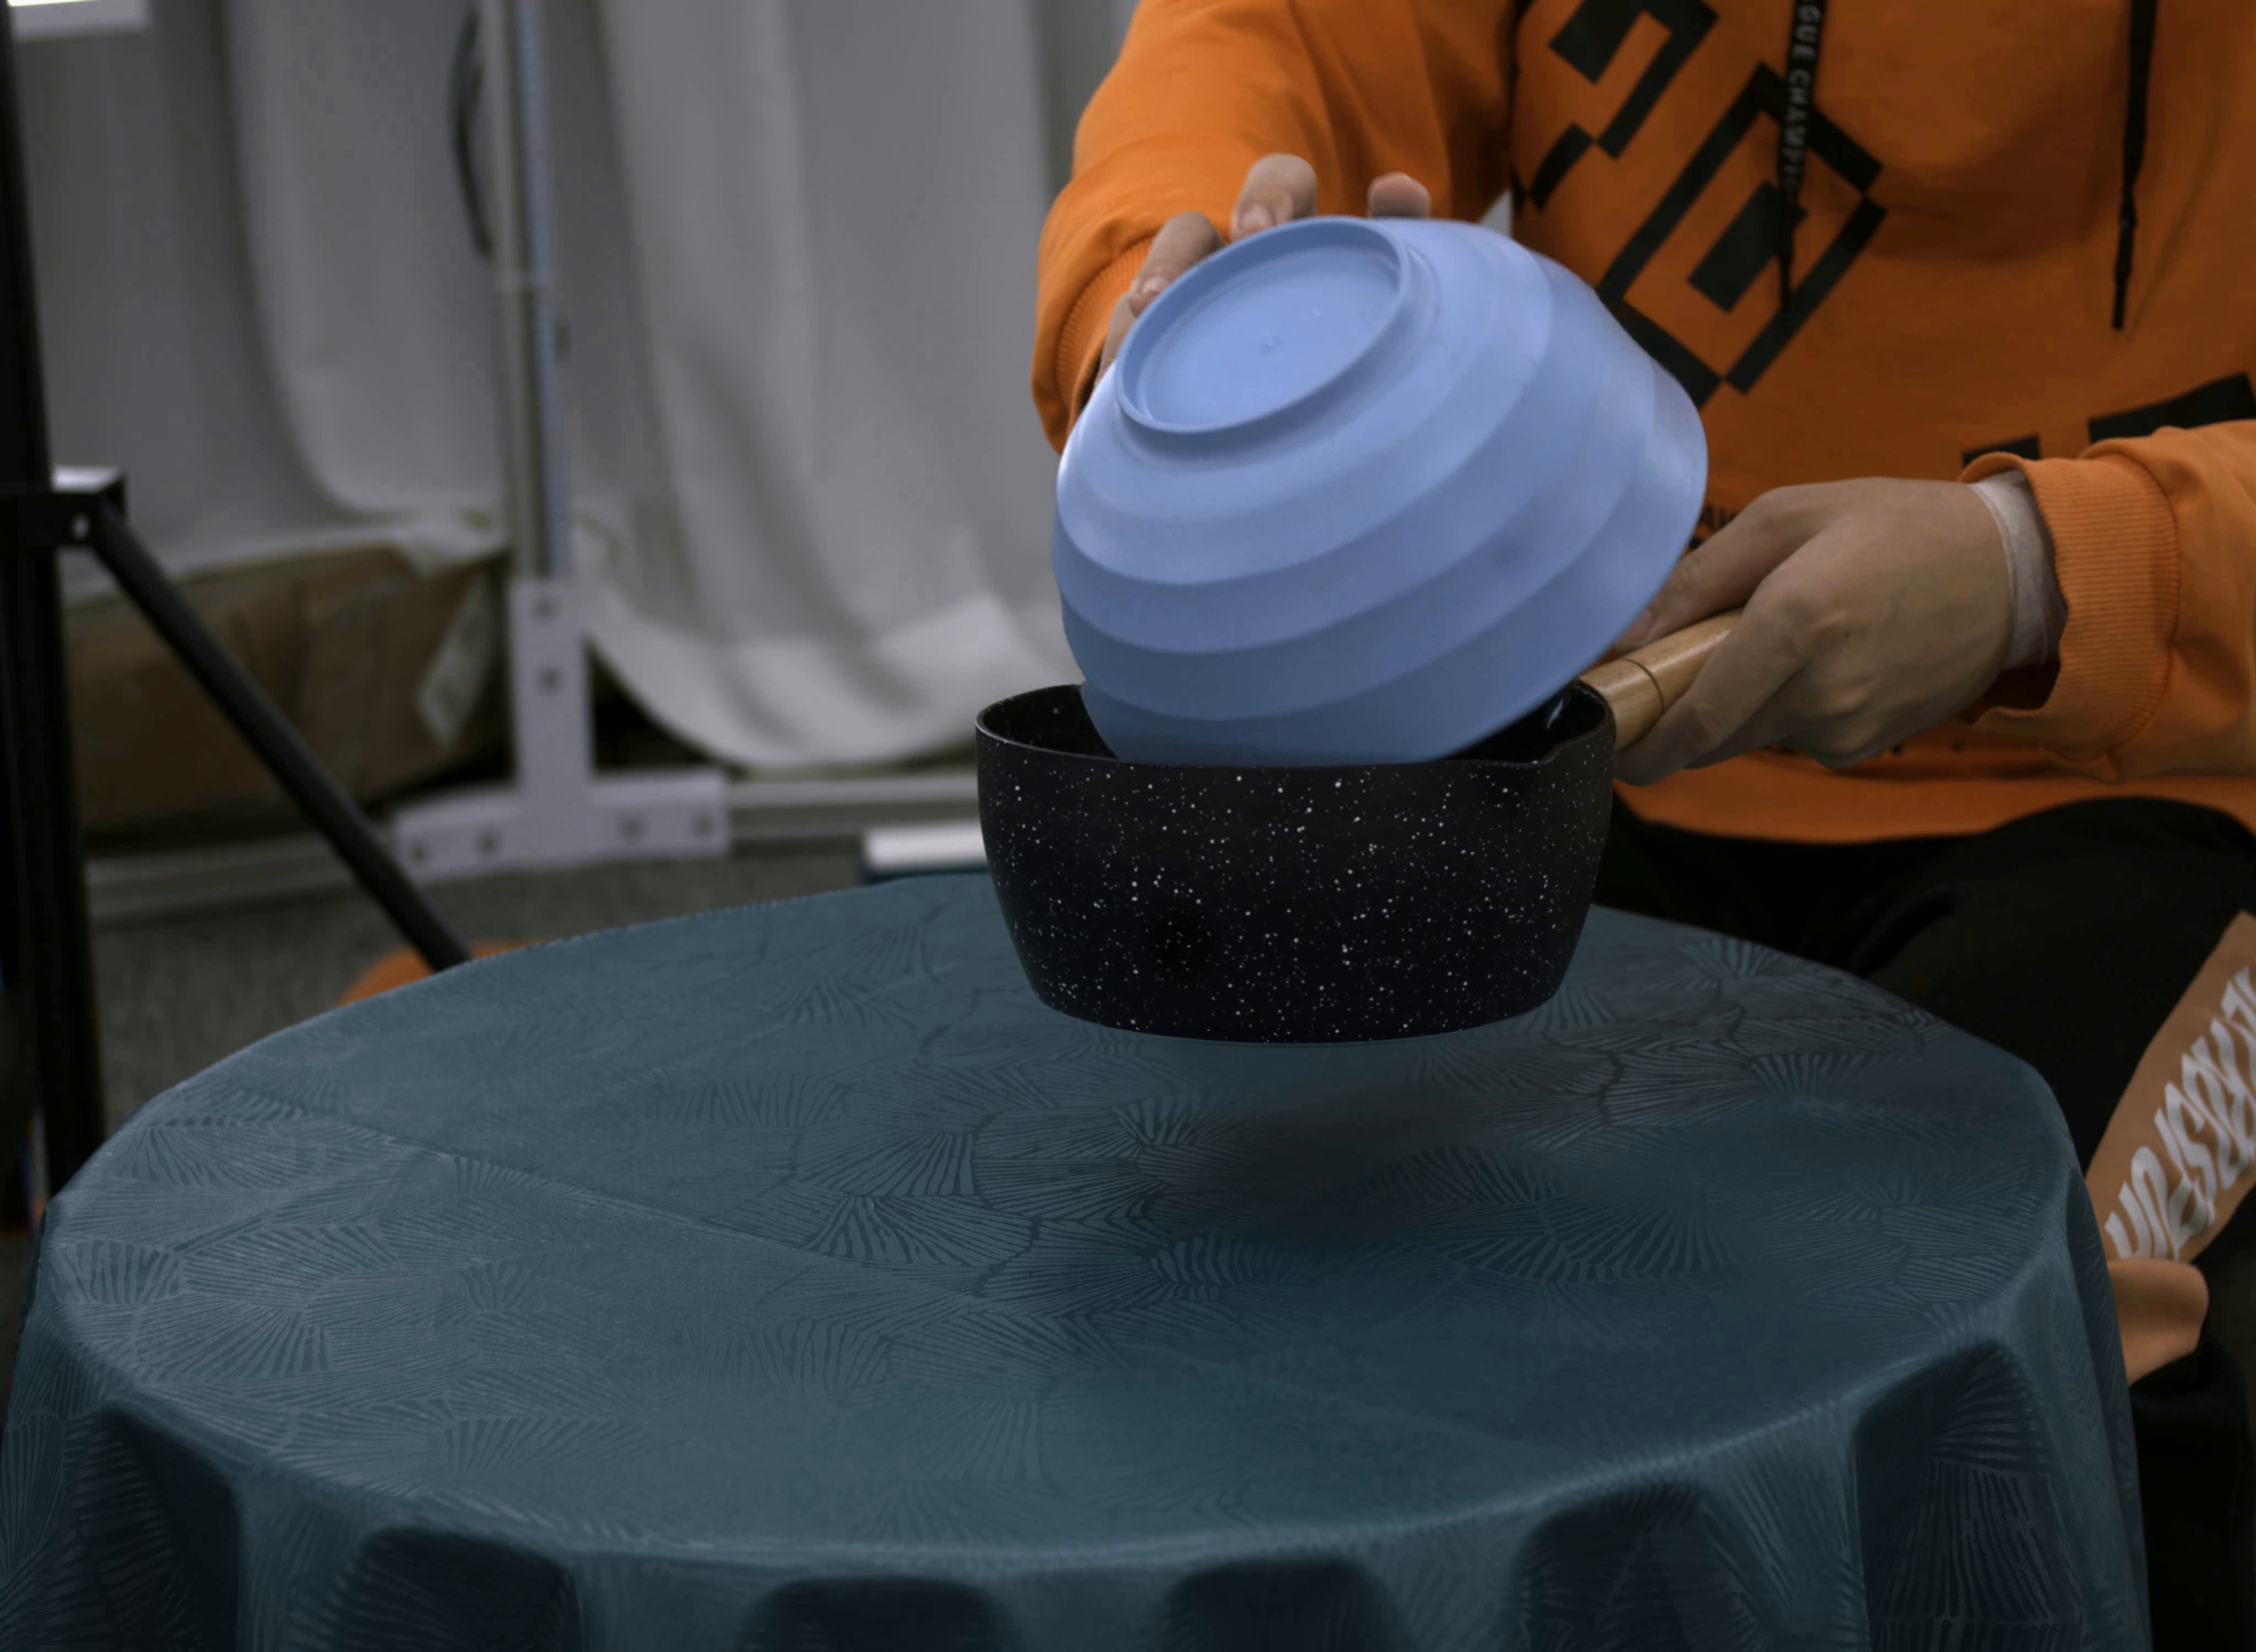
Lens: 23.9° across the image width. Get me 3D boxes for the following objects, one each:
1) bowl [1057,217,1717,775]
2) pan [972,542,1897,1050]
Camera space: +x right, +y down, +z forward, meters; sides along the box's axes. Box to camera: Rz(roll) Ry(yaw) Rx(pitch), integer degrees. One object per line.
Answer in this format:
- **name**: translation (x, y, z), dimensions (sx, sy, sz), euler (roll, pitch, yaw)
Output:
- **bowl**: translation (0.059, -0.106, 1.507), dimensions (0.197, 0.094, 0.198), euler (-21, 36, 15)
- **pan**: translation (0.107, -0.012, 1.580), dimensions (0.334, 0.108, 0.212), euler (-11, 13, -39)
